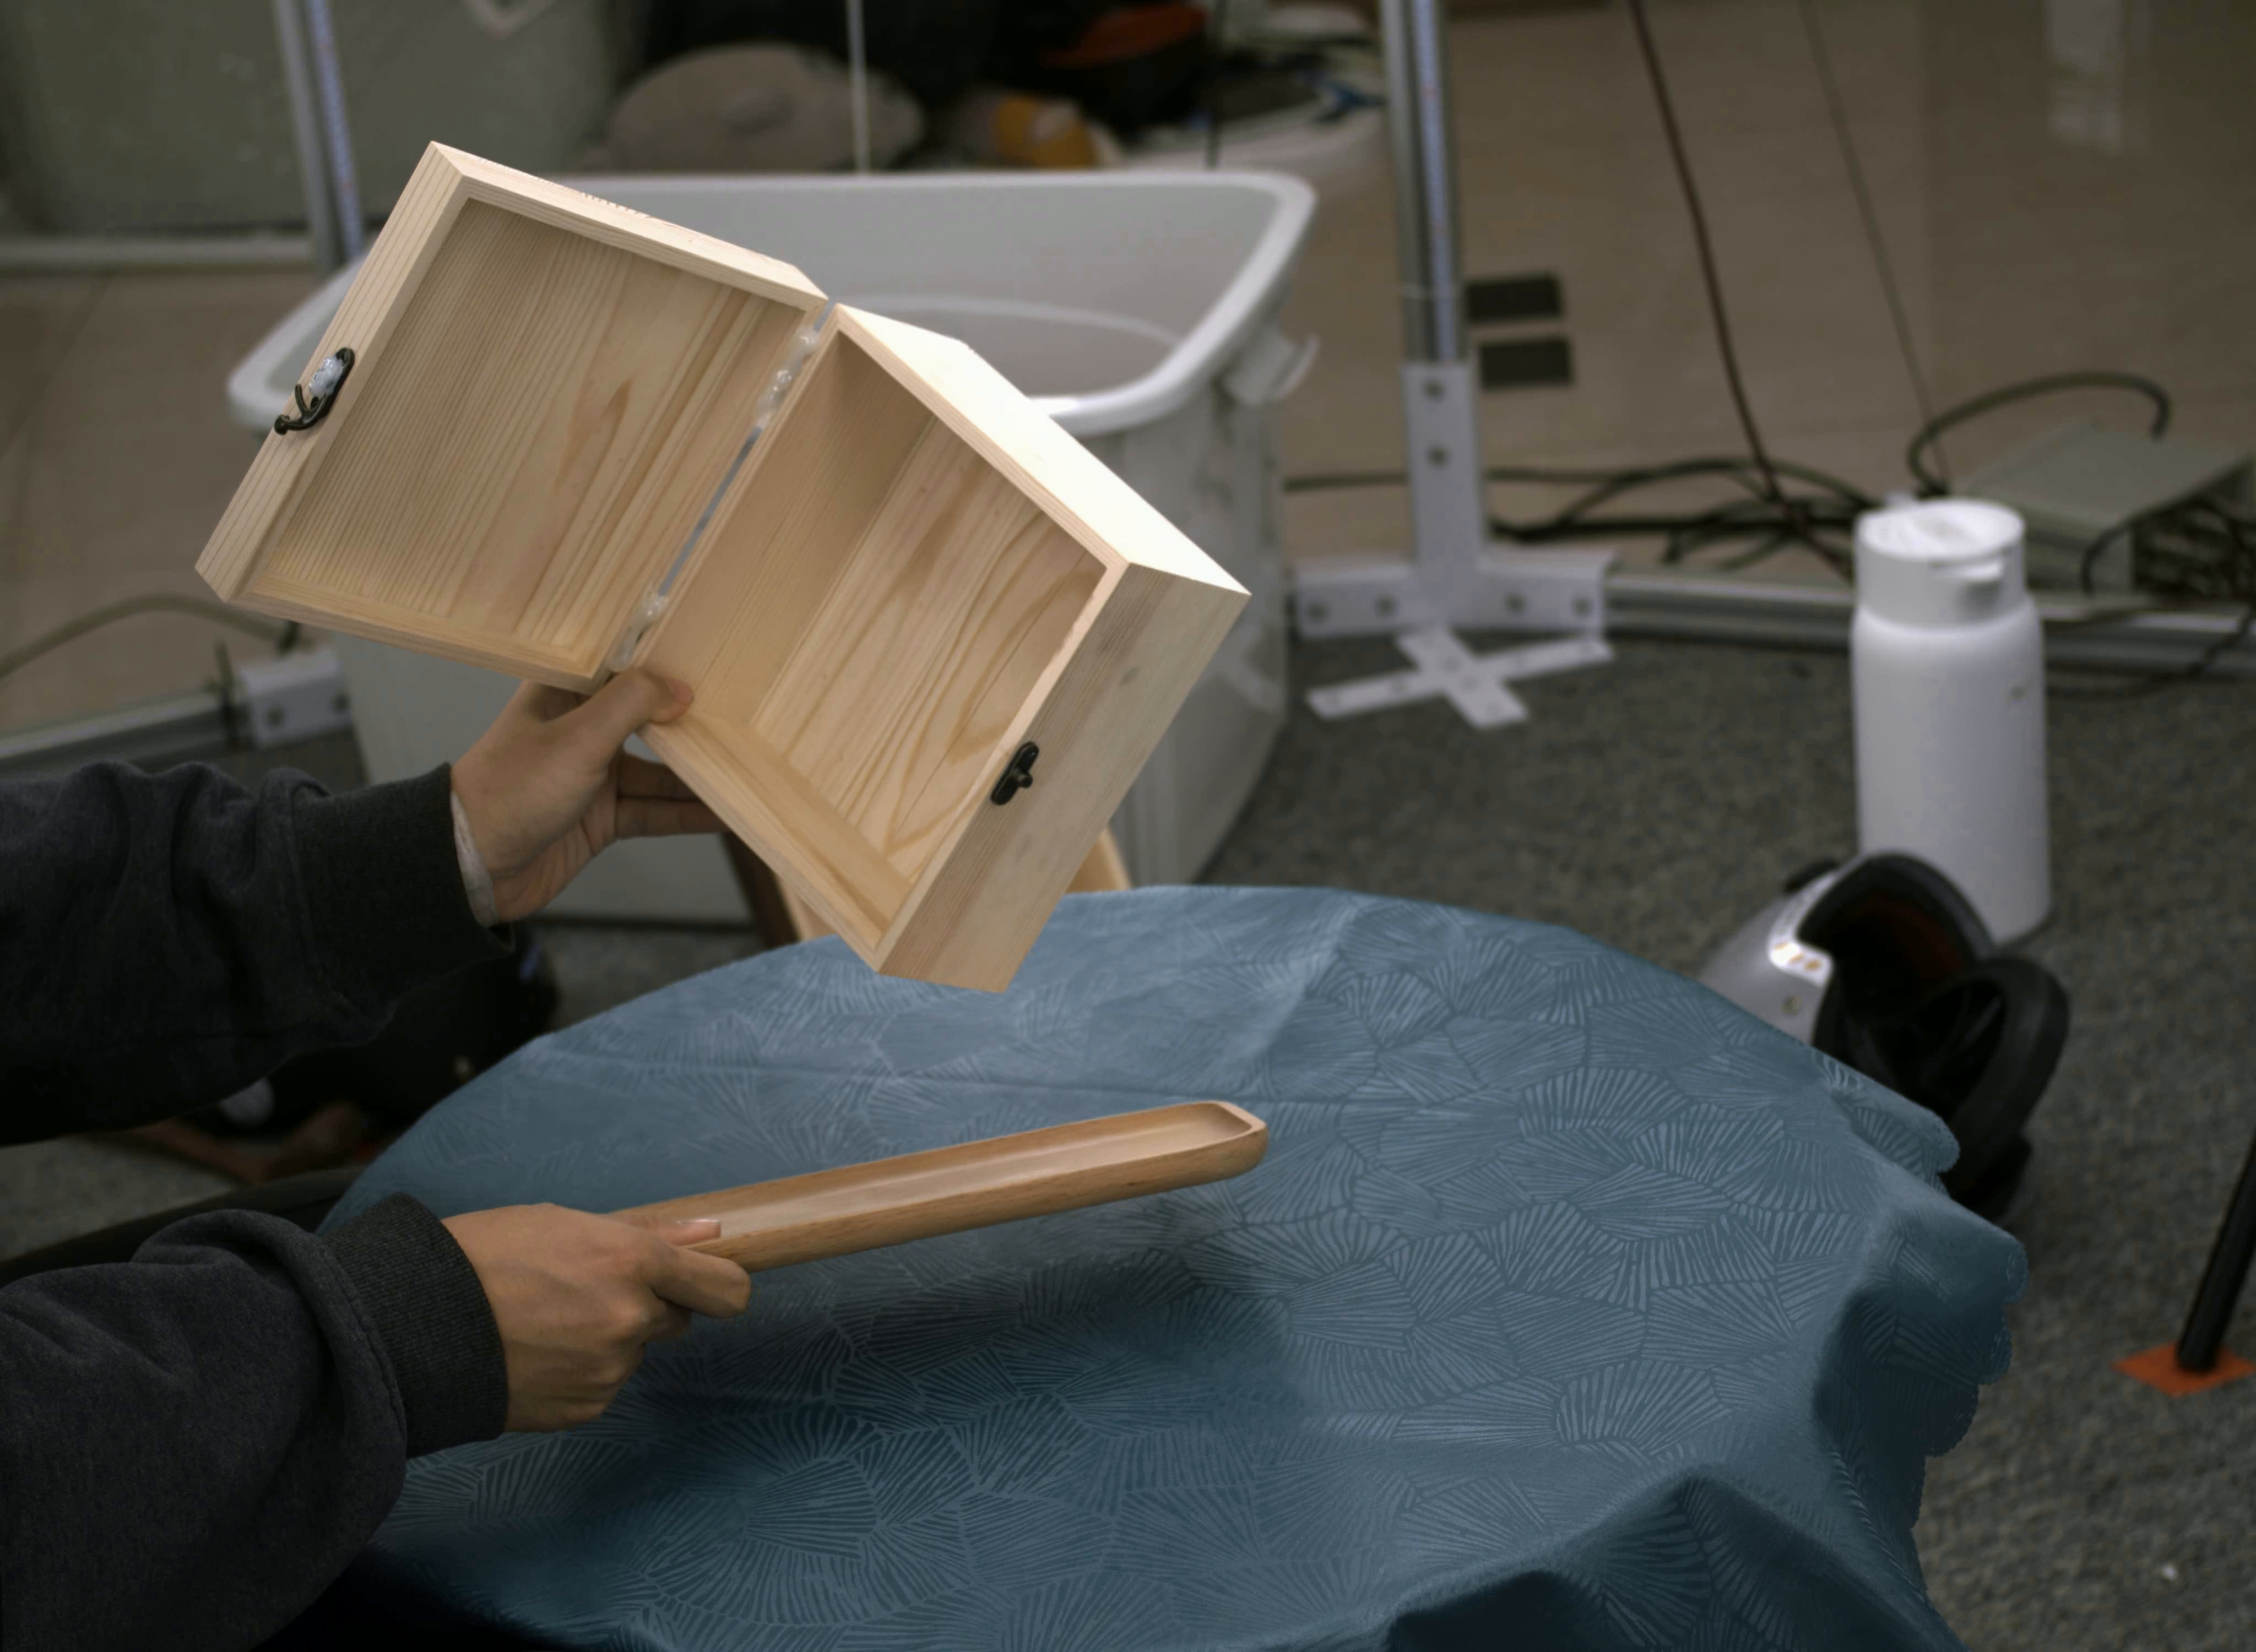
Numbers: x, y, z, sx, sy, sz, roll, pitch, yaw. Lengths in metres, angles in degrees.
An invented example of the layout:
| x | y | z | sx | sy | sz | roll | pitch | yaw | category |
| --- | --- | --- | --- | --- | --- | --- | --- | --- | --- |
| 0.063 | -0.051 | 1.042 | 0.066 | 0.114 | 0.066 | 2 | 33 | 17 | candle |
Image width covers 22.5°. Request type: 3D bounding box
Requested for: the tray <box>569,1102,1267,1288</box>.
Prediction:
| x | y | z | sx | sy | sz | roll | pitch | yaw | category |
| --- | --- | --- | --- | --- | --- | --- | --- | --- | --- |
| -0.077 | 0.133 | 2.062 | 0.250 | 0.023 | 0.130 | -11 | 2 | -8 | tray |

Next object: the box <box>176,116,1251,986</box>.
| x | y | z | sx | sy | sz | roll | pitch | yaw | category |
| --- | --- | --- | --- | --- | --- | --- | --- | --- | --- |
| -0.151 | -0.095 | 2.050 | 0.254 | 0.183 | 0.262 | 8 | 28 | -50 | box |
